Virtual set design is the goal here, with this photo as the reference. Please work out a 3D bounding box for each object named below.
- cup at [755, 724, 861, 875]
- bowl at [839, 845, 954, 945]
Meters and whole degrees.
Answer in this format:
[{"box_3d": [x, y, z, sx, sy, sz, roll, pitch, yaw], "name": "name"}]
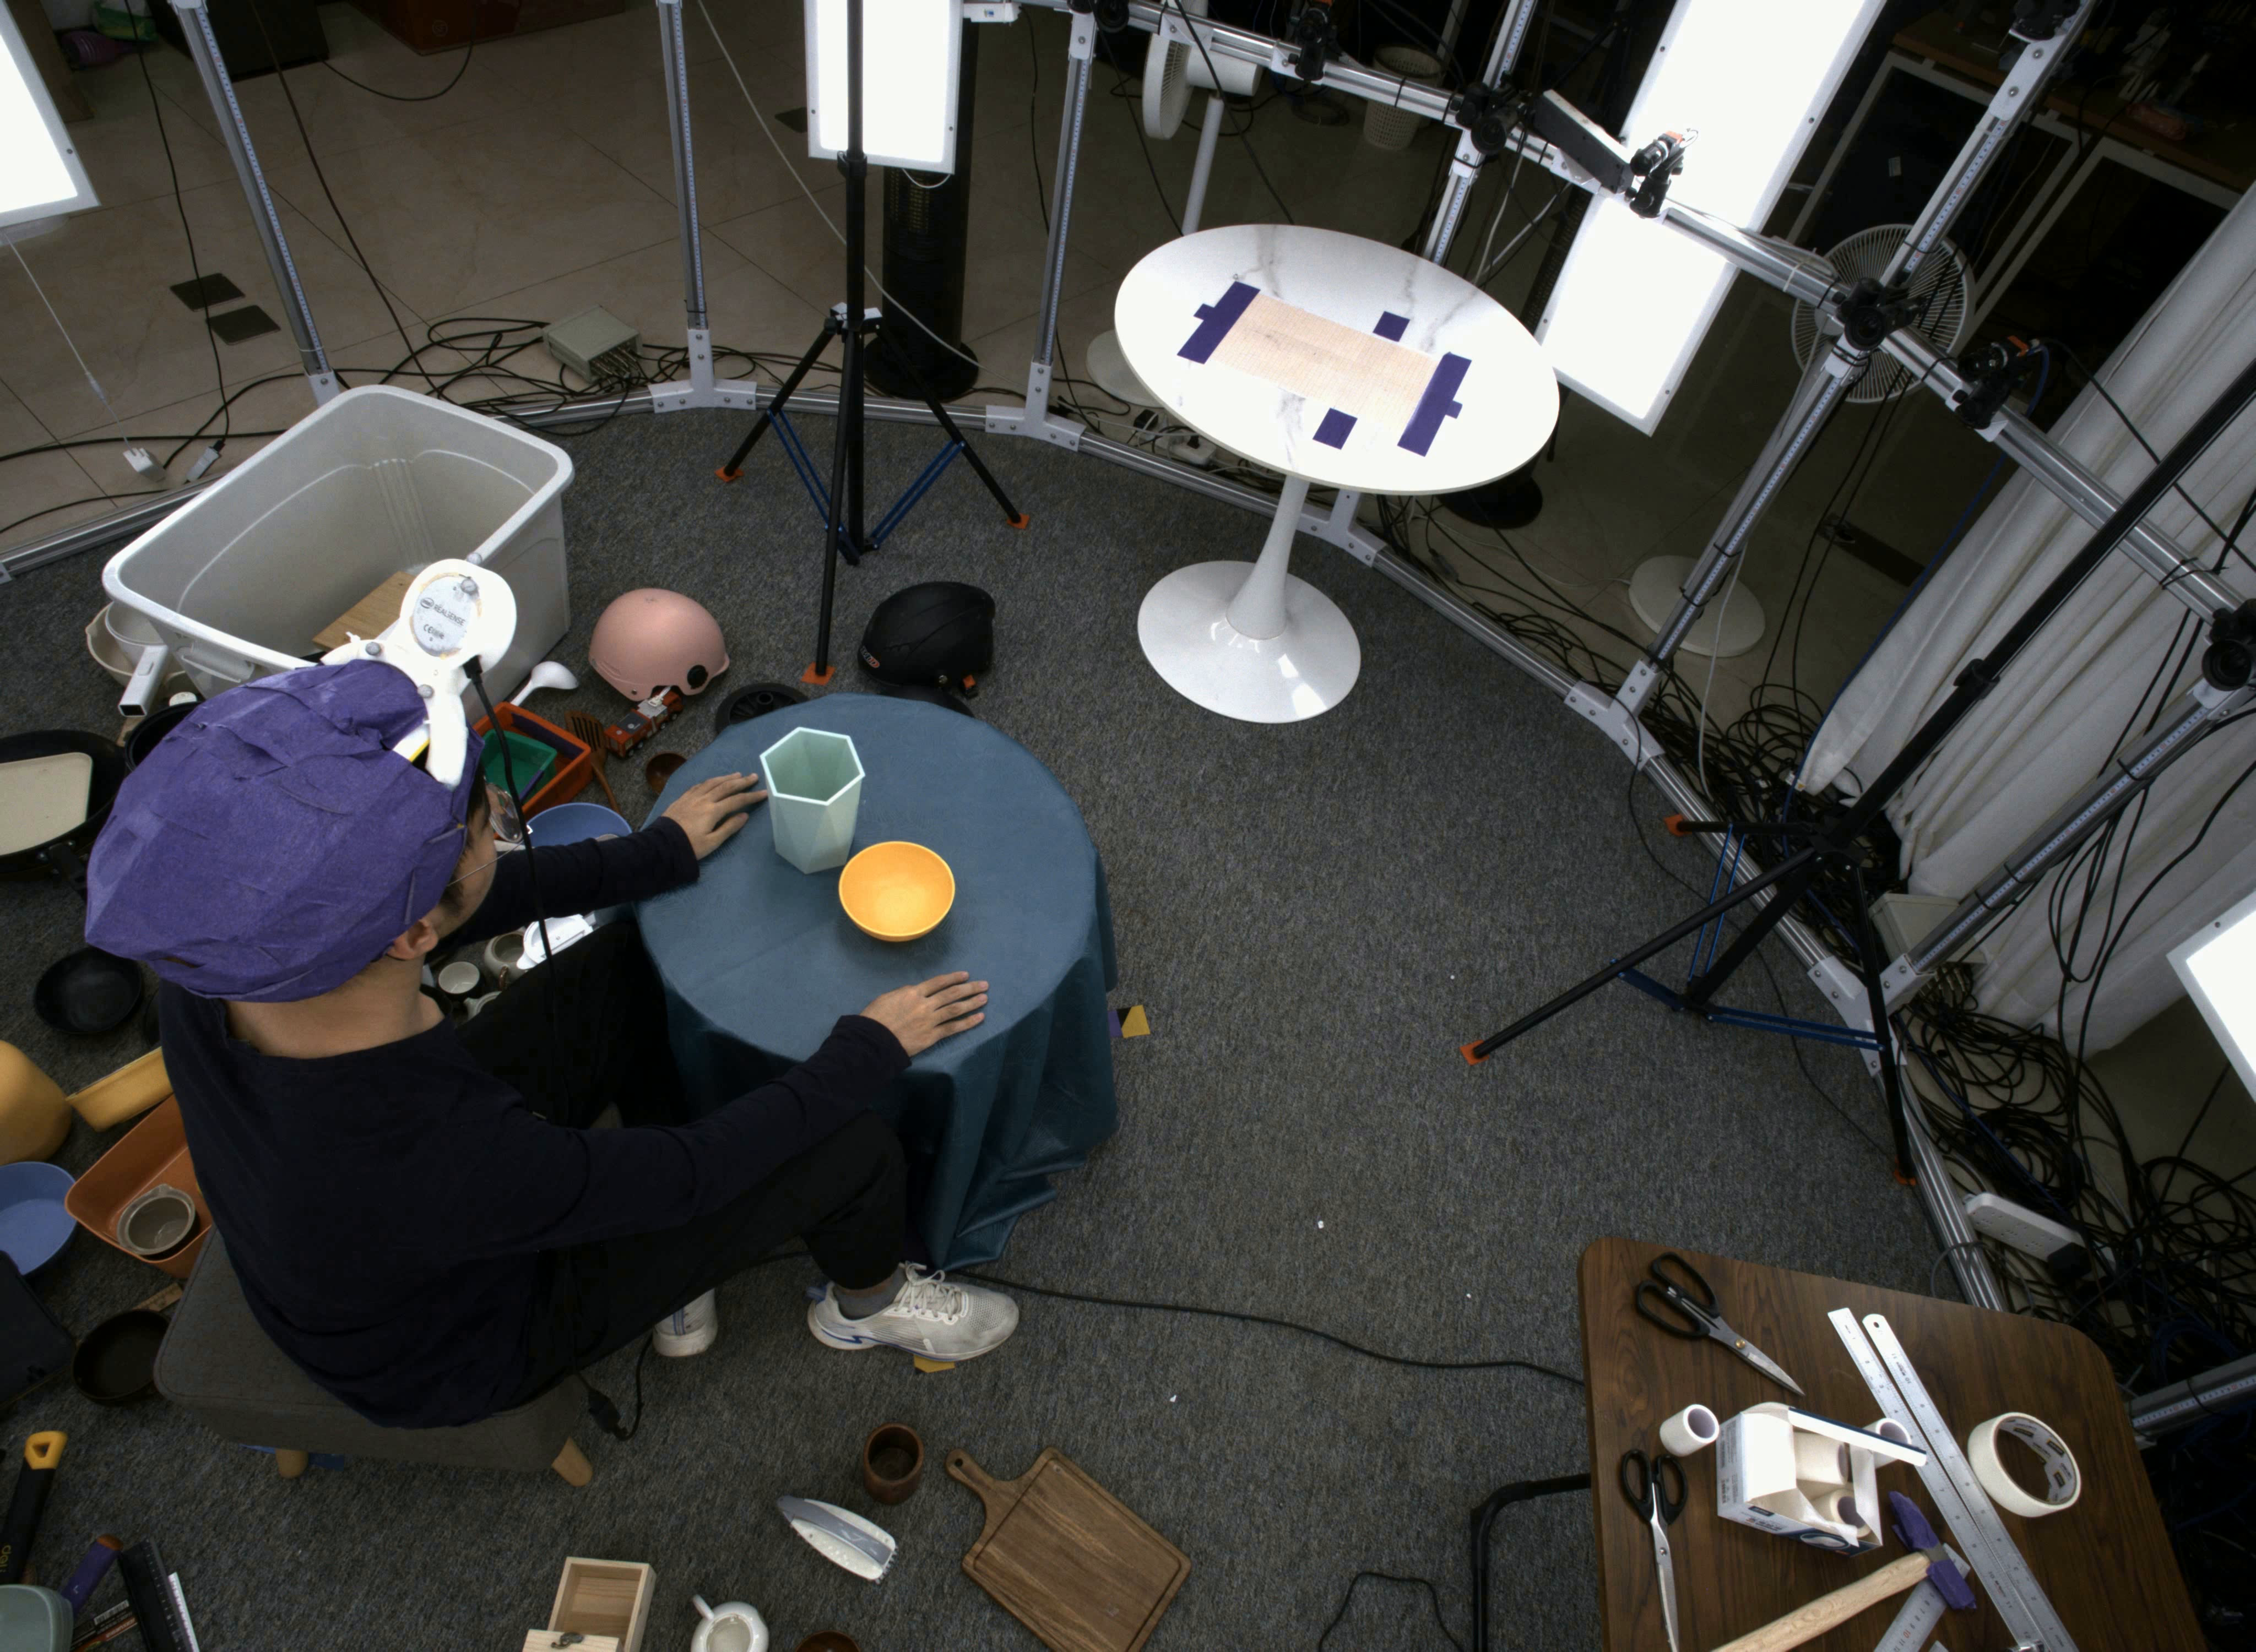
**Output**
[{"box_3d": [-0.401, -0.030, 1.648, 0.115, 0.167, 0.127, -18, 58, -22], "name": "cup"}, {"box_3d": [-0.293, 0.097, 1.652, 0.144, 0.061, 0.143, 6, 53, -6], "name": "bowl"}]
